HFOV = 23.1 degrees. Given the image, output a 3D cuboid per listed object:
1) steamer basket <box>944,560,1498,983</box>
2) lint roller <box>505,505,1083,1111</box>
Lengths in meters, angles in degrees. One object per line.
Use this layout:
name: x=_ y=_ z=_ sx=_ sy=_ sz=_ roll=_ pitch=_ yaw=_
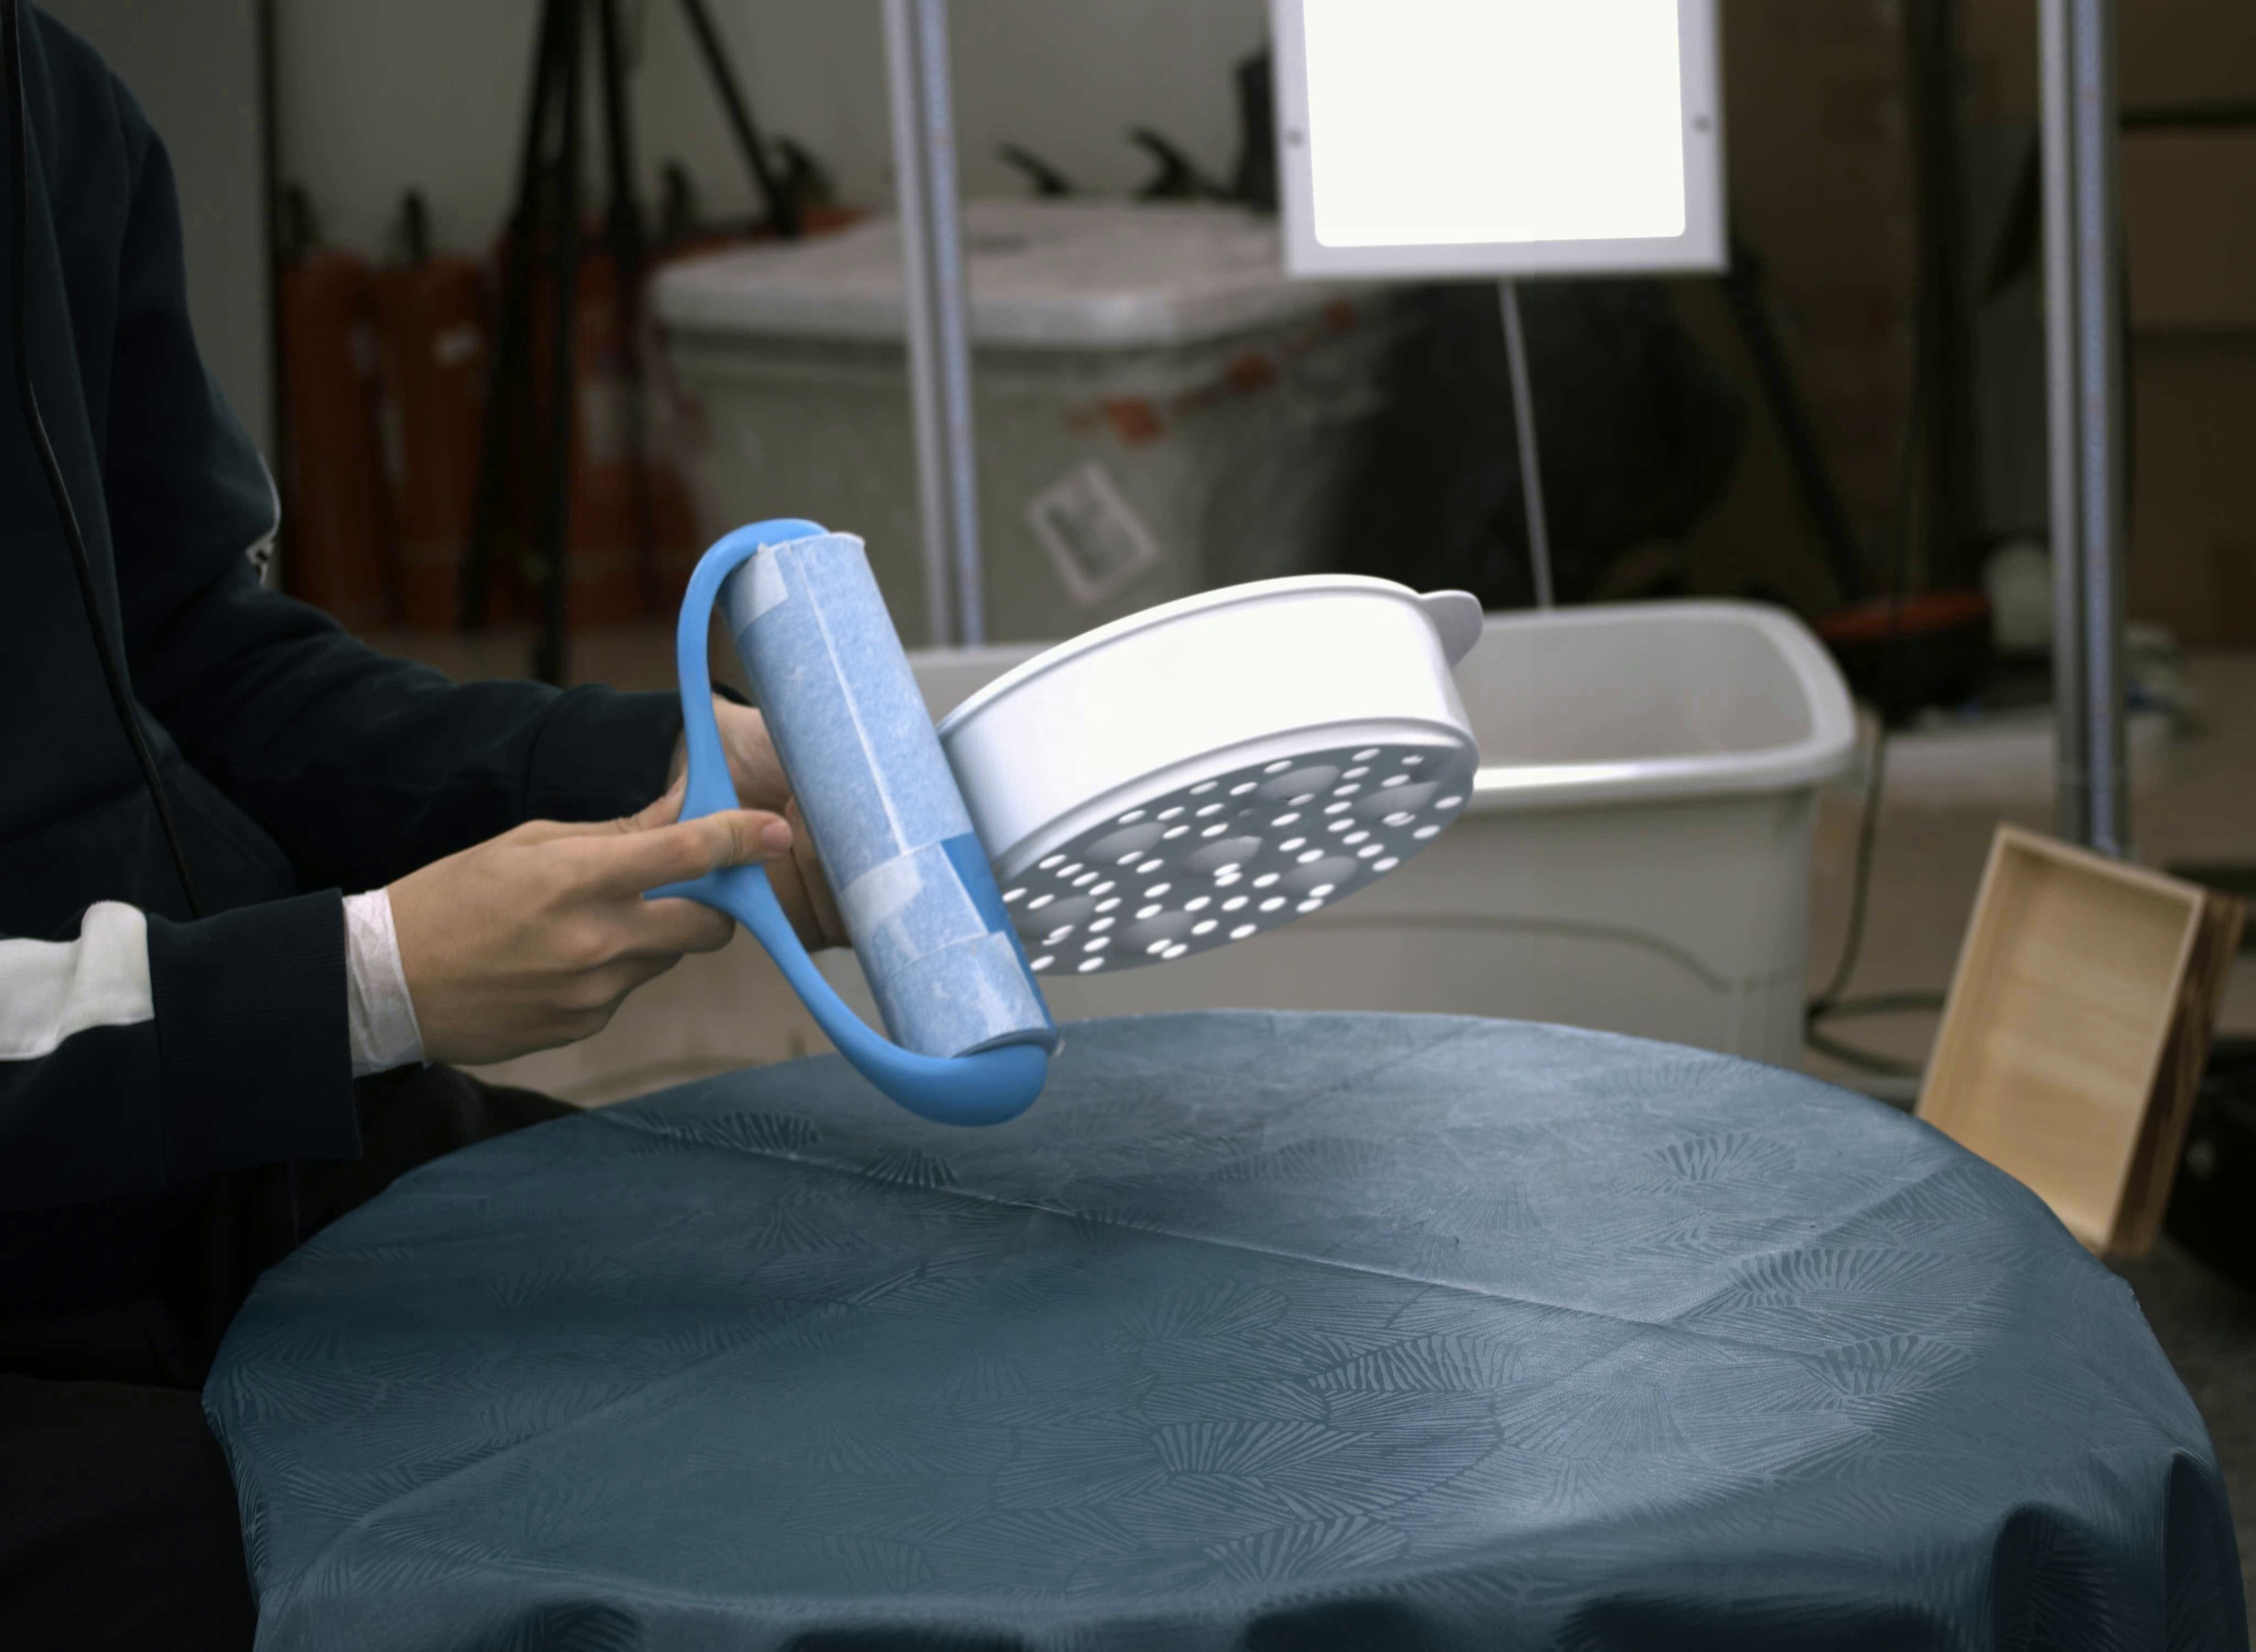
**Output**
steamer basket: x=0.029 y=-0.014 z=1.917 sx=0.230 sy=0.069 sz=0.201 roll=-20 pitch=-21 yaw=1
lint roller: x=-0.131 y=0.018 z=1.857 sx=0.180 sy=0.230 sz=0.068 roll=-27 pitch=-17 yaw=-1
